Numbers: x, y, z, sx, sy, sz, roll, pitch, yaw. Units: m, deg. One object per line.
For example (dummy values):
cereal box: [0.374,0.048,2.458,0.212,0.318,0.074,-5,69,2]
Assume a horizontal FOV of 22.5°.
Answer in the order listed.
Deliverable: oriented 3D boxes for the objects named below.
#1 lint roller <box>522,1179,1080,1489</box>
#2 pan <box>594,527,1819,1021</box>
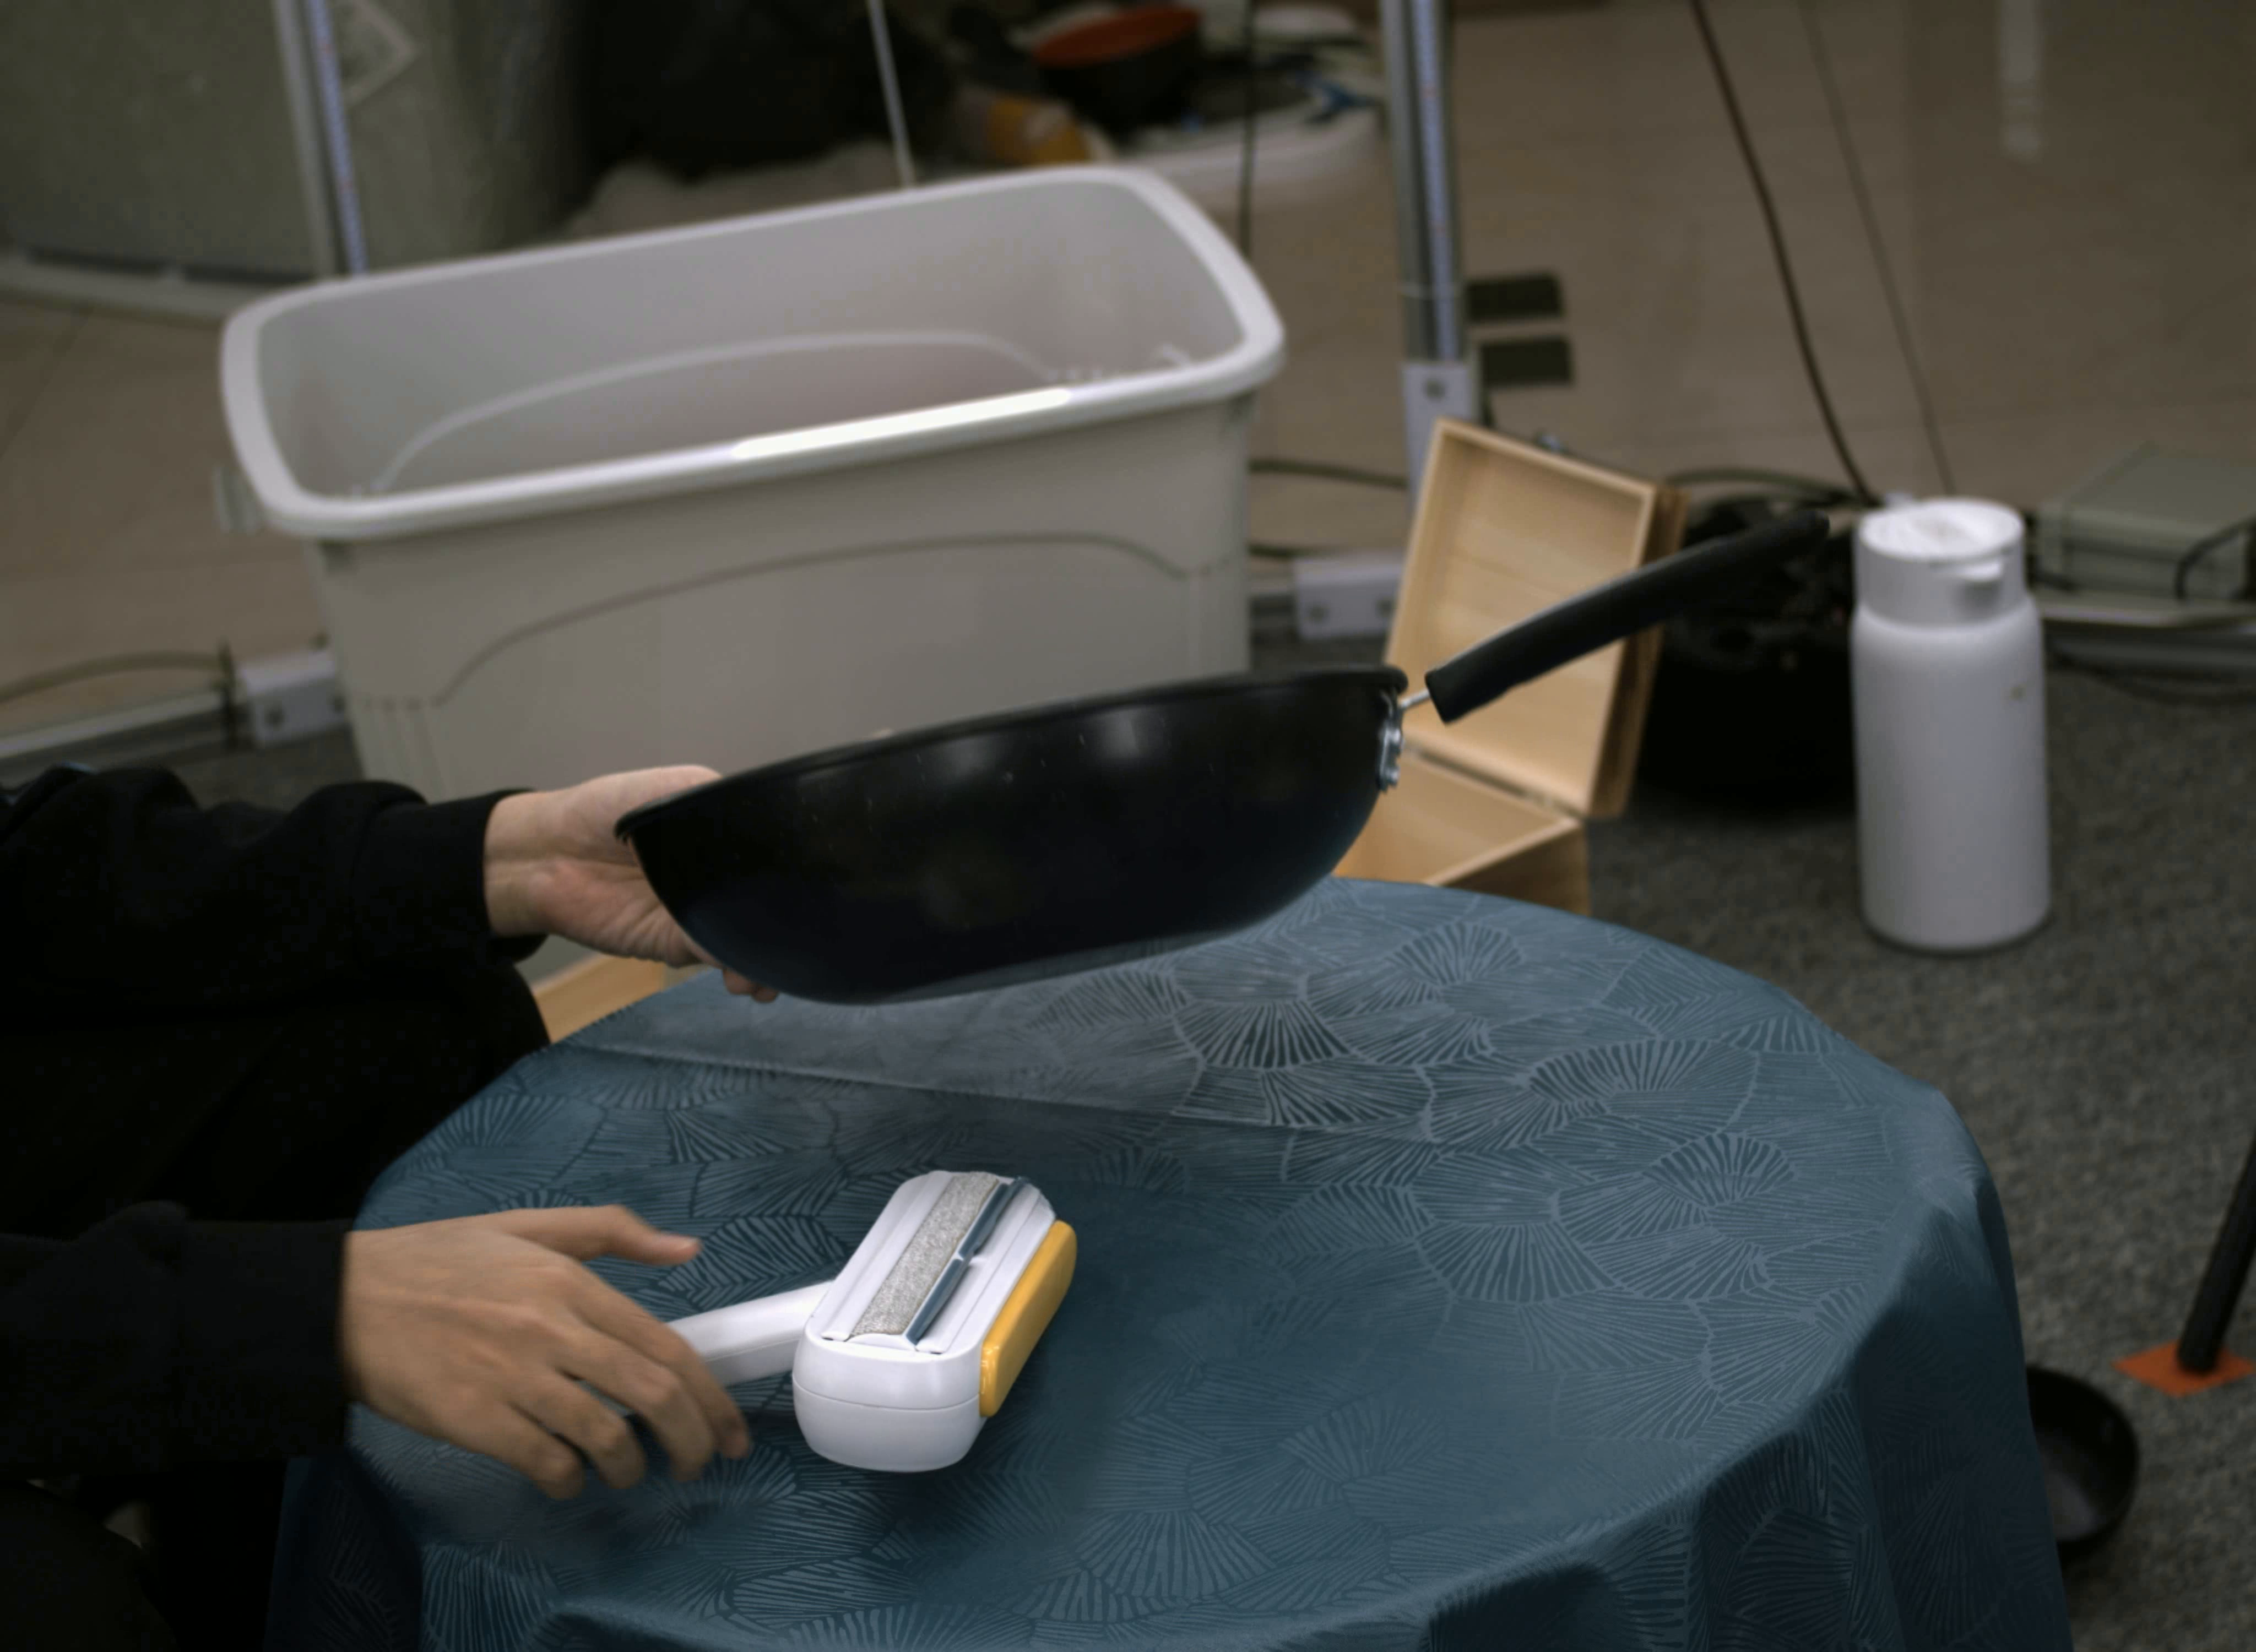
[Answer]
lint roller: [-0.125,0.182,2.002,0.192,0.075,0.190,-1,20,16]
pan: [0.036,-0.011,2.146,0.476,0.112,0.310,-12,-2,4]
